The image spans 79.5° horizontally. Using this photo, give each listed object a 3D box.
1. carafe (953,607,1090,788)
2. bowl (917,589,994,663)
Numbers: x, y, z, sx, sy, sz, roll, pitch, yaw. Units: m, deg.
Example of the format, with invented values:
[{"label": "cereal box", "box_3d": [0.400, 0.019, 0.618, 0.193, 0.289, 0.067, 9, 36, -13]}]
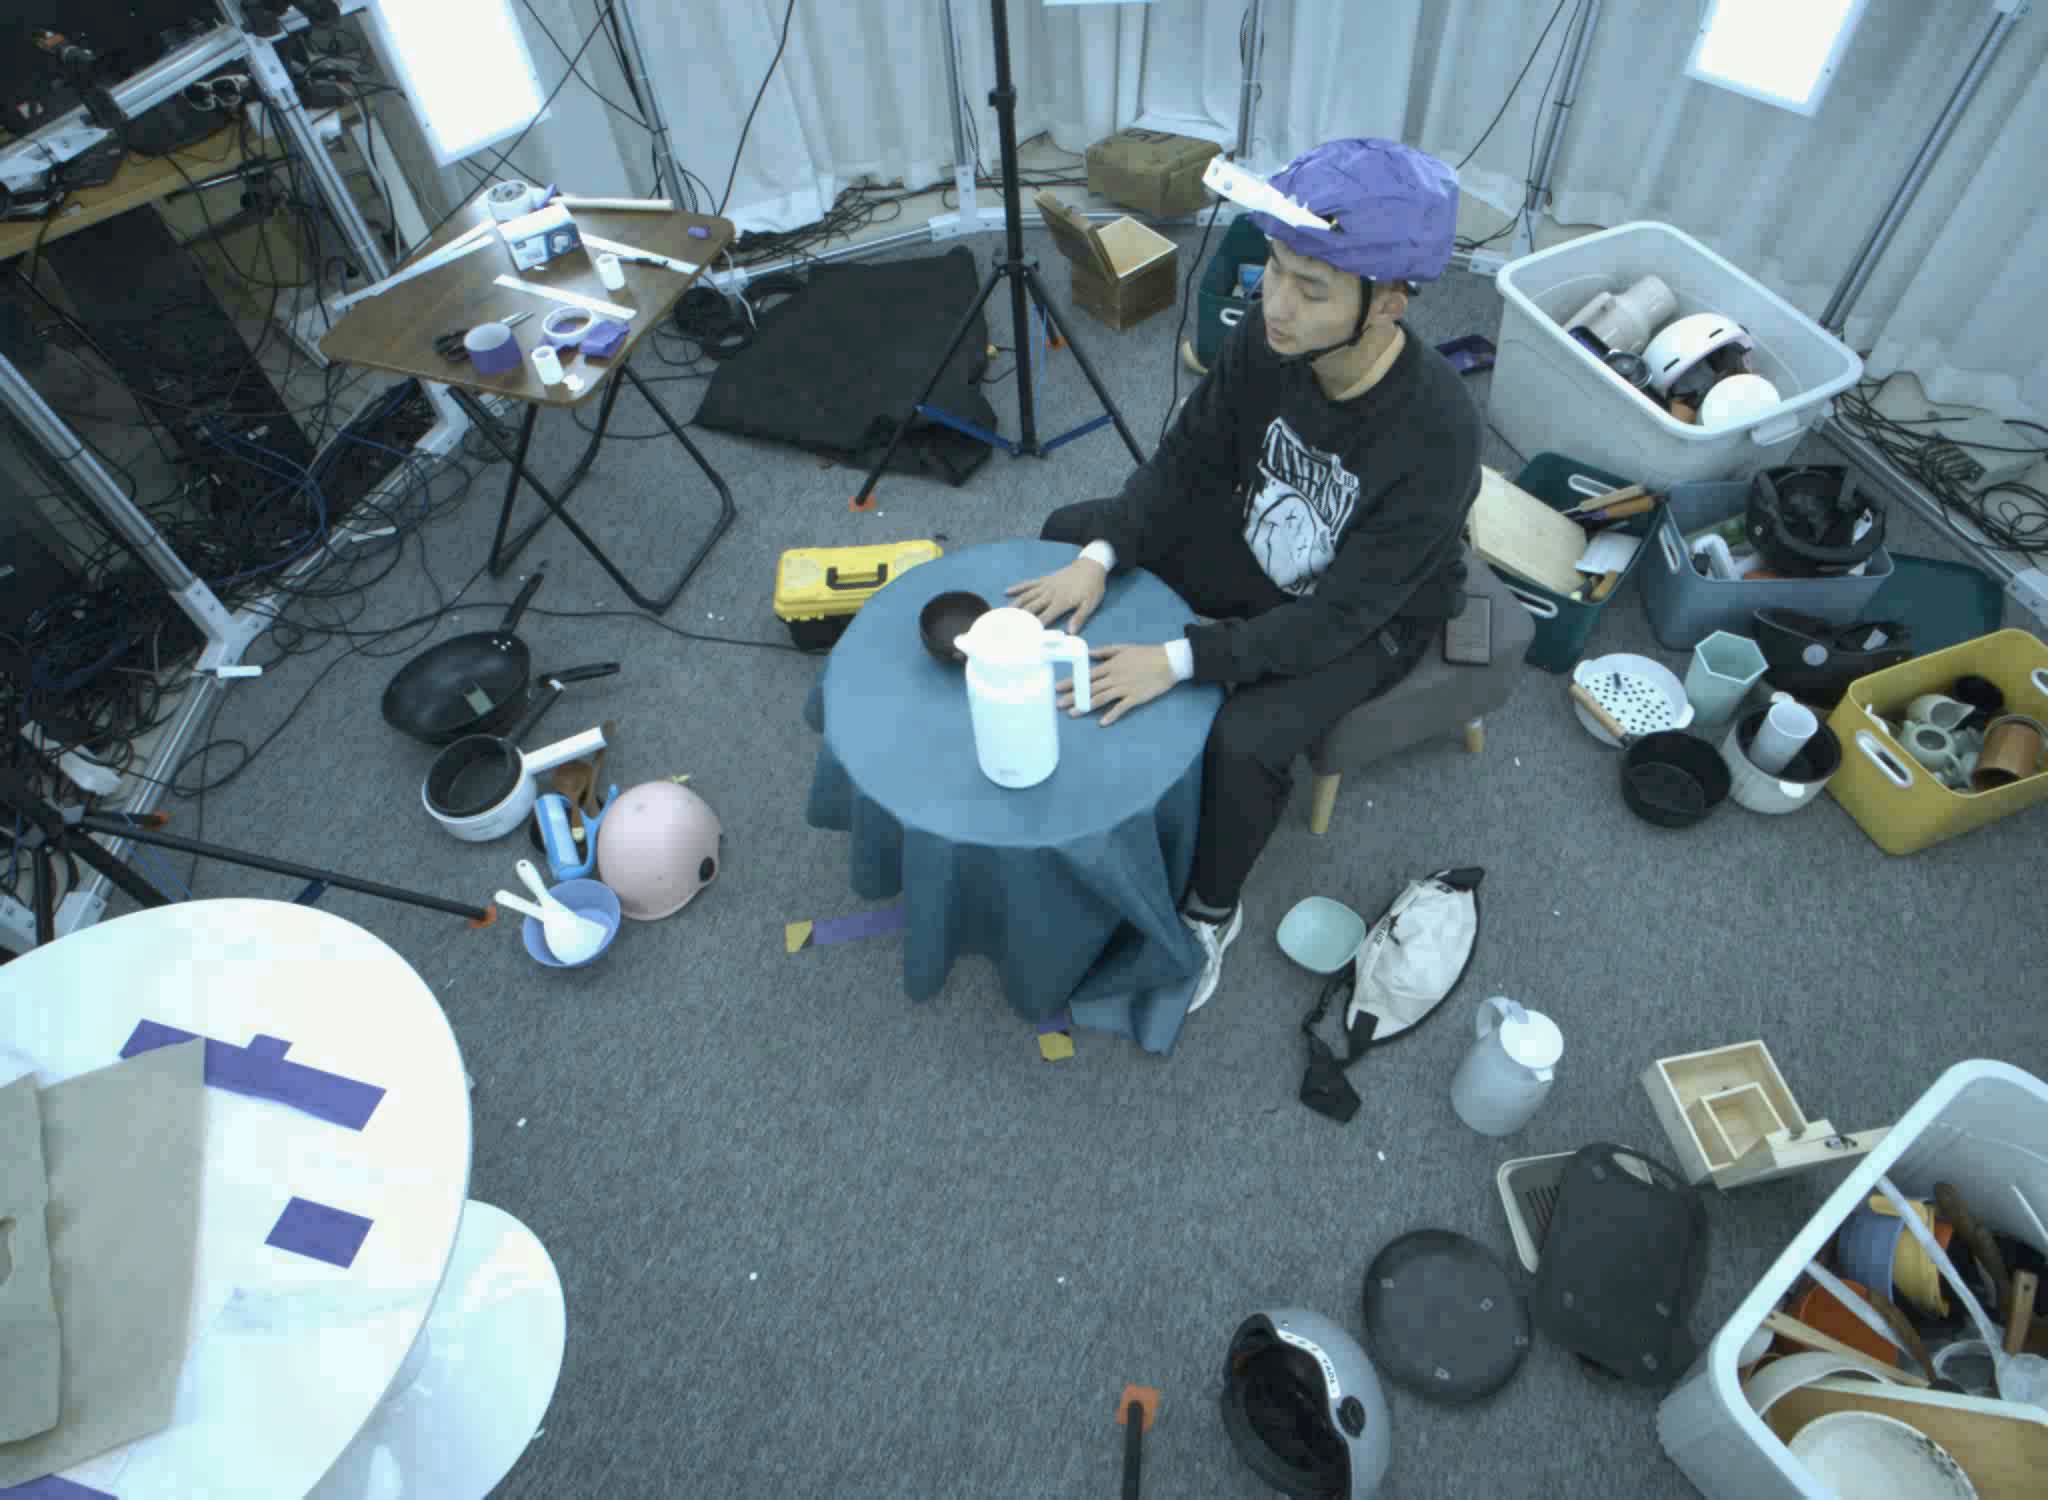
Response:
[{"label": "carafe", "box_3d": [0.003, -0.069, 1.667, 0.173, 0.272, 0.122, -2, 52, 2]}, {"label": "bowl", "box_3d": [-0.102, -0.181, 1.870, 0.118, 0.070, 0.117, 0, 54, 2]}]
